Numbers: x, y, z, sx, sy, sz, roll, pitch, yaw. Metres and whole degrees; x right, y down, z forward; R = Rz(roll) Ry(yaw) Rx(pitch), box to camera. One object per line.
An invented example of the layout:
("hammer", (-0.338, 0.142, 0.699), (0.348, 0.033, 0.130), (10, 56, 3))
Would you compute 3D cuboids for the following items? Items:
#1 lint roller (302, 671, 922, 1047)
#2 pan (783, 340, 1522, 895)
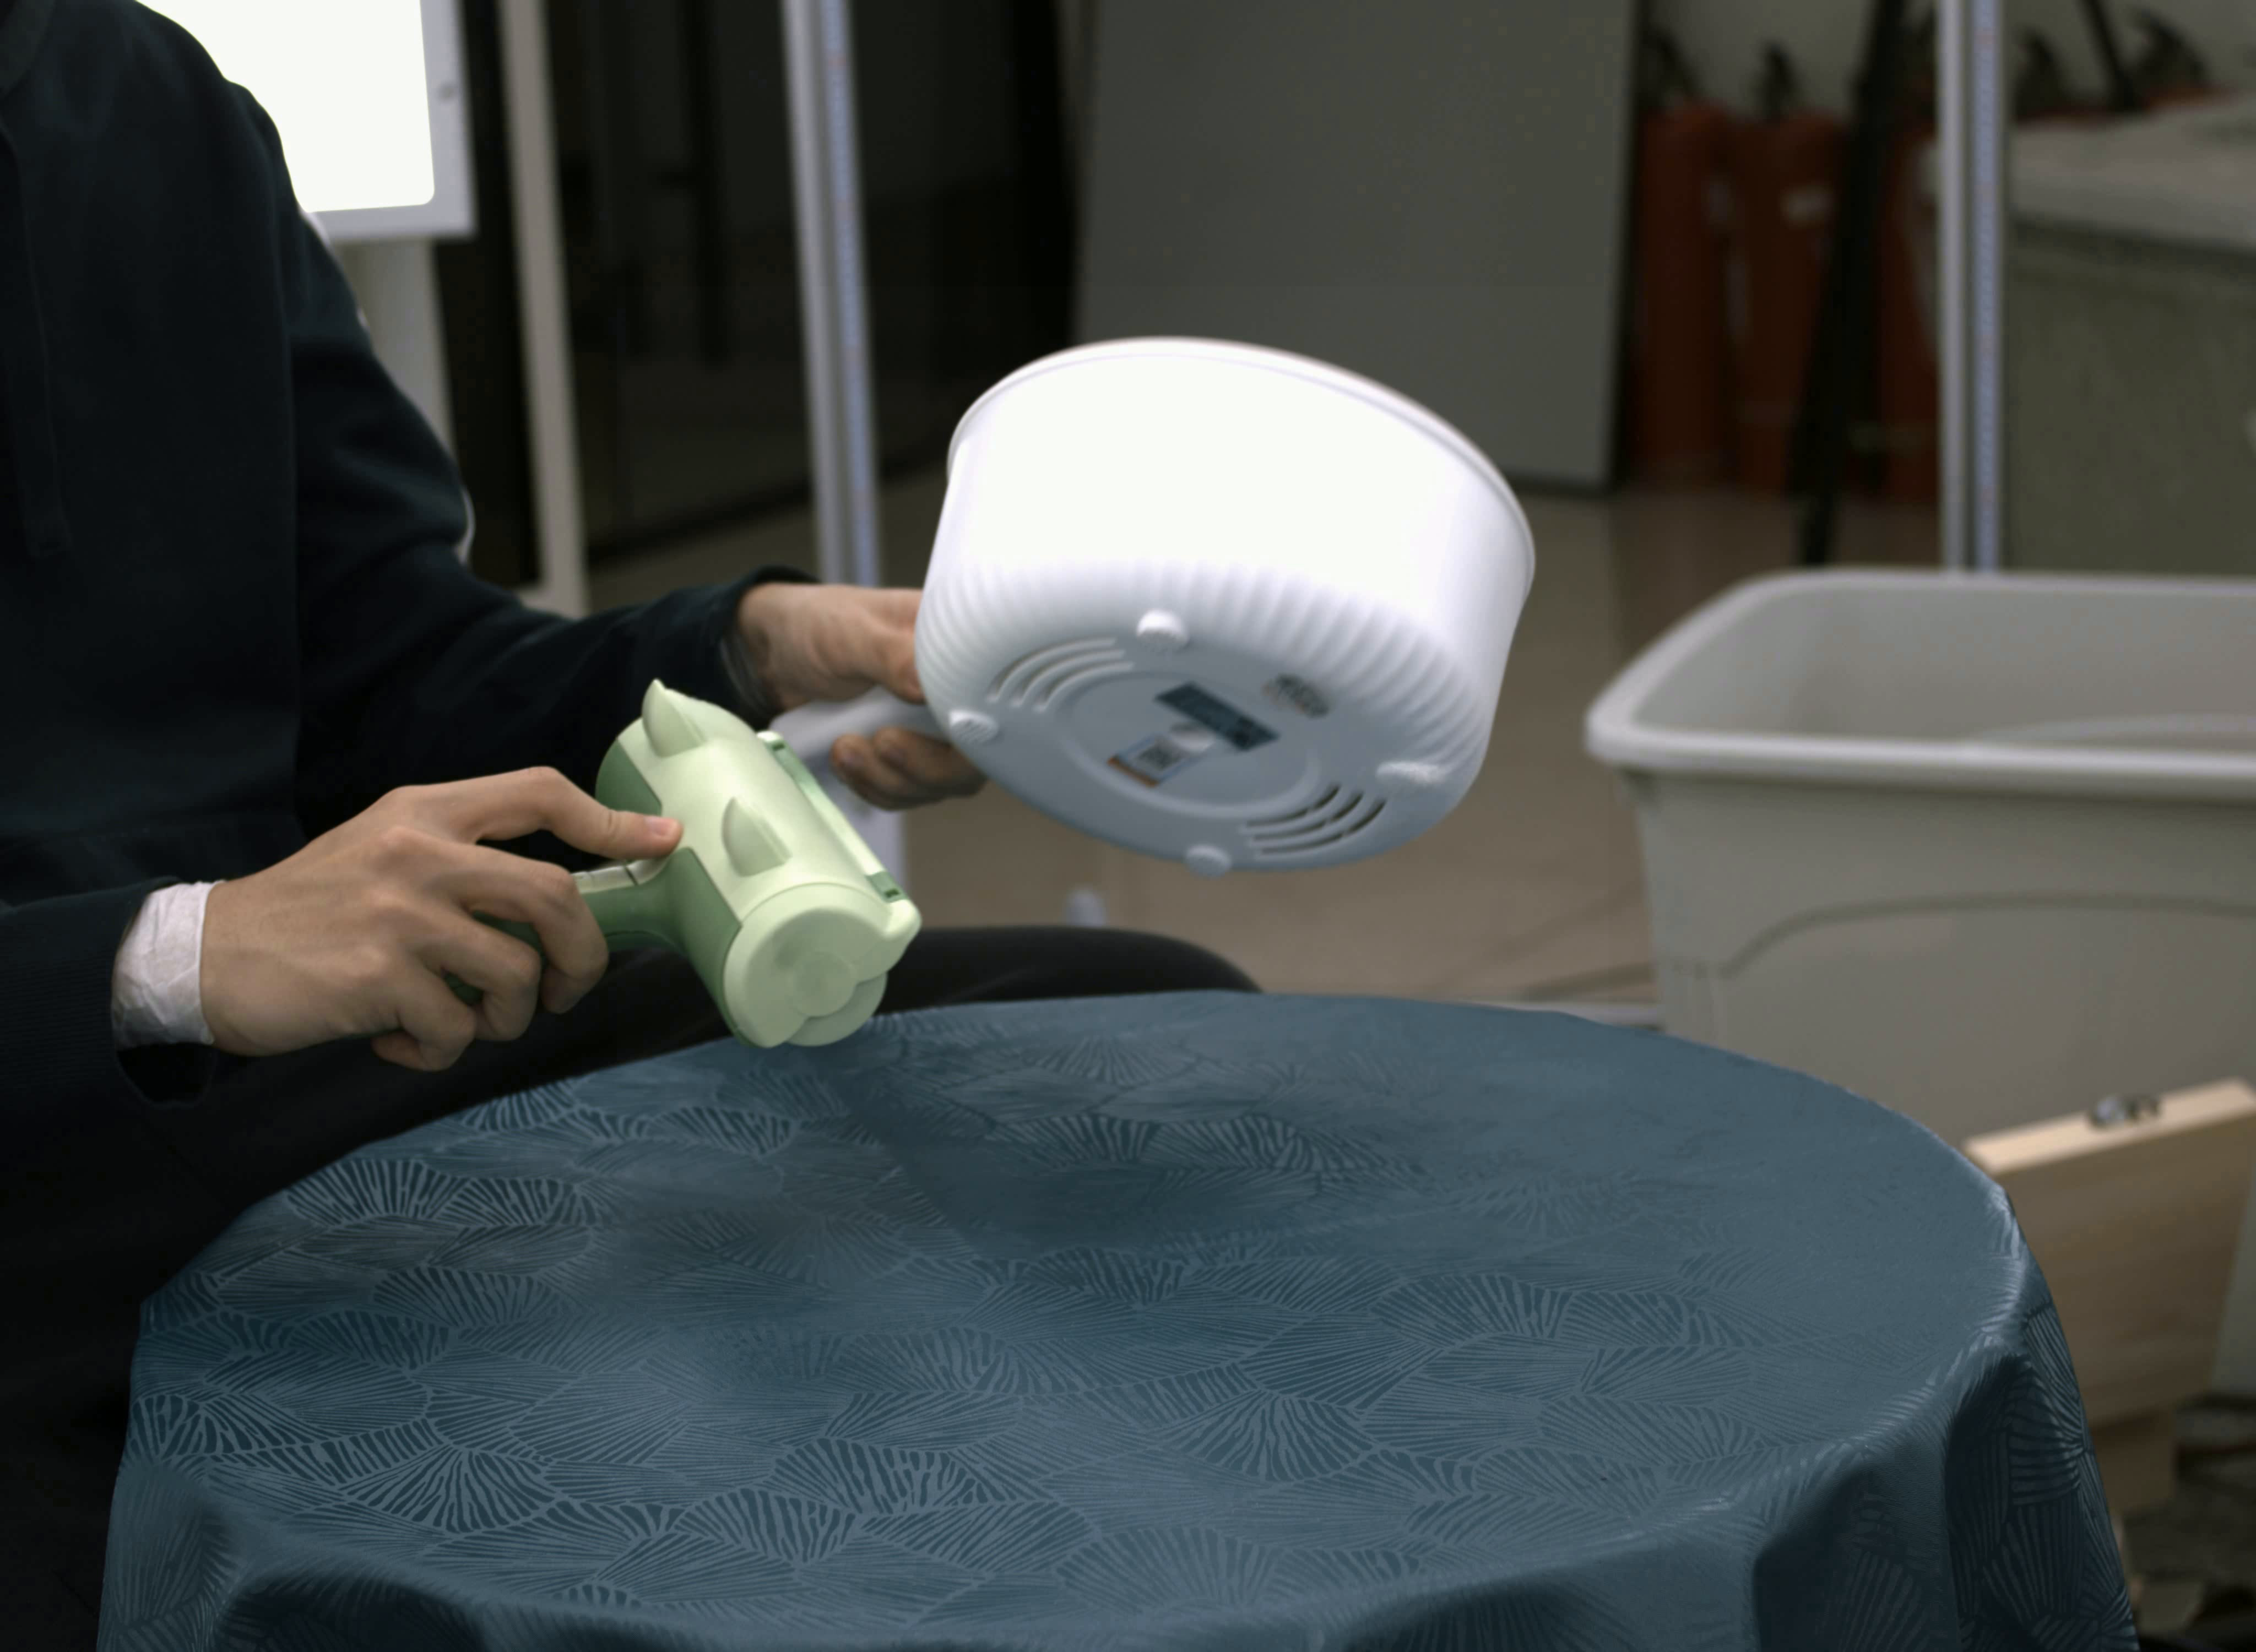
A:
("lint roller", (-0.176, 0.013, 1.728), (0.180, 0.083, 0.200), (-8, 22, -15))
("pan", (-0.020, -0.038, 1.840), (0.198, 0.103, 0.358), (29, -33, -26))
